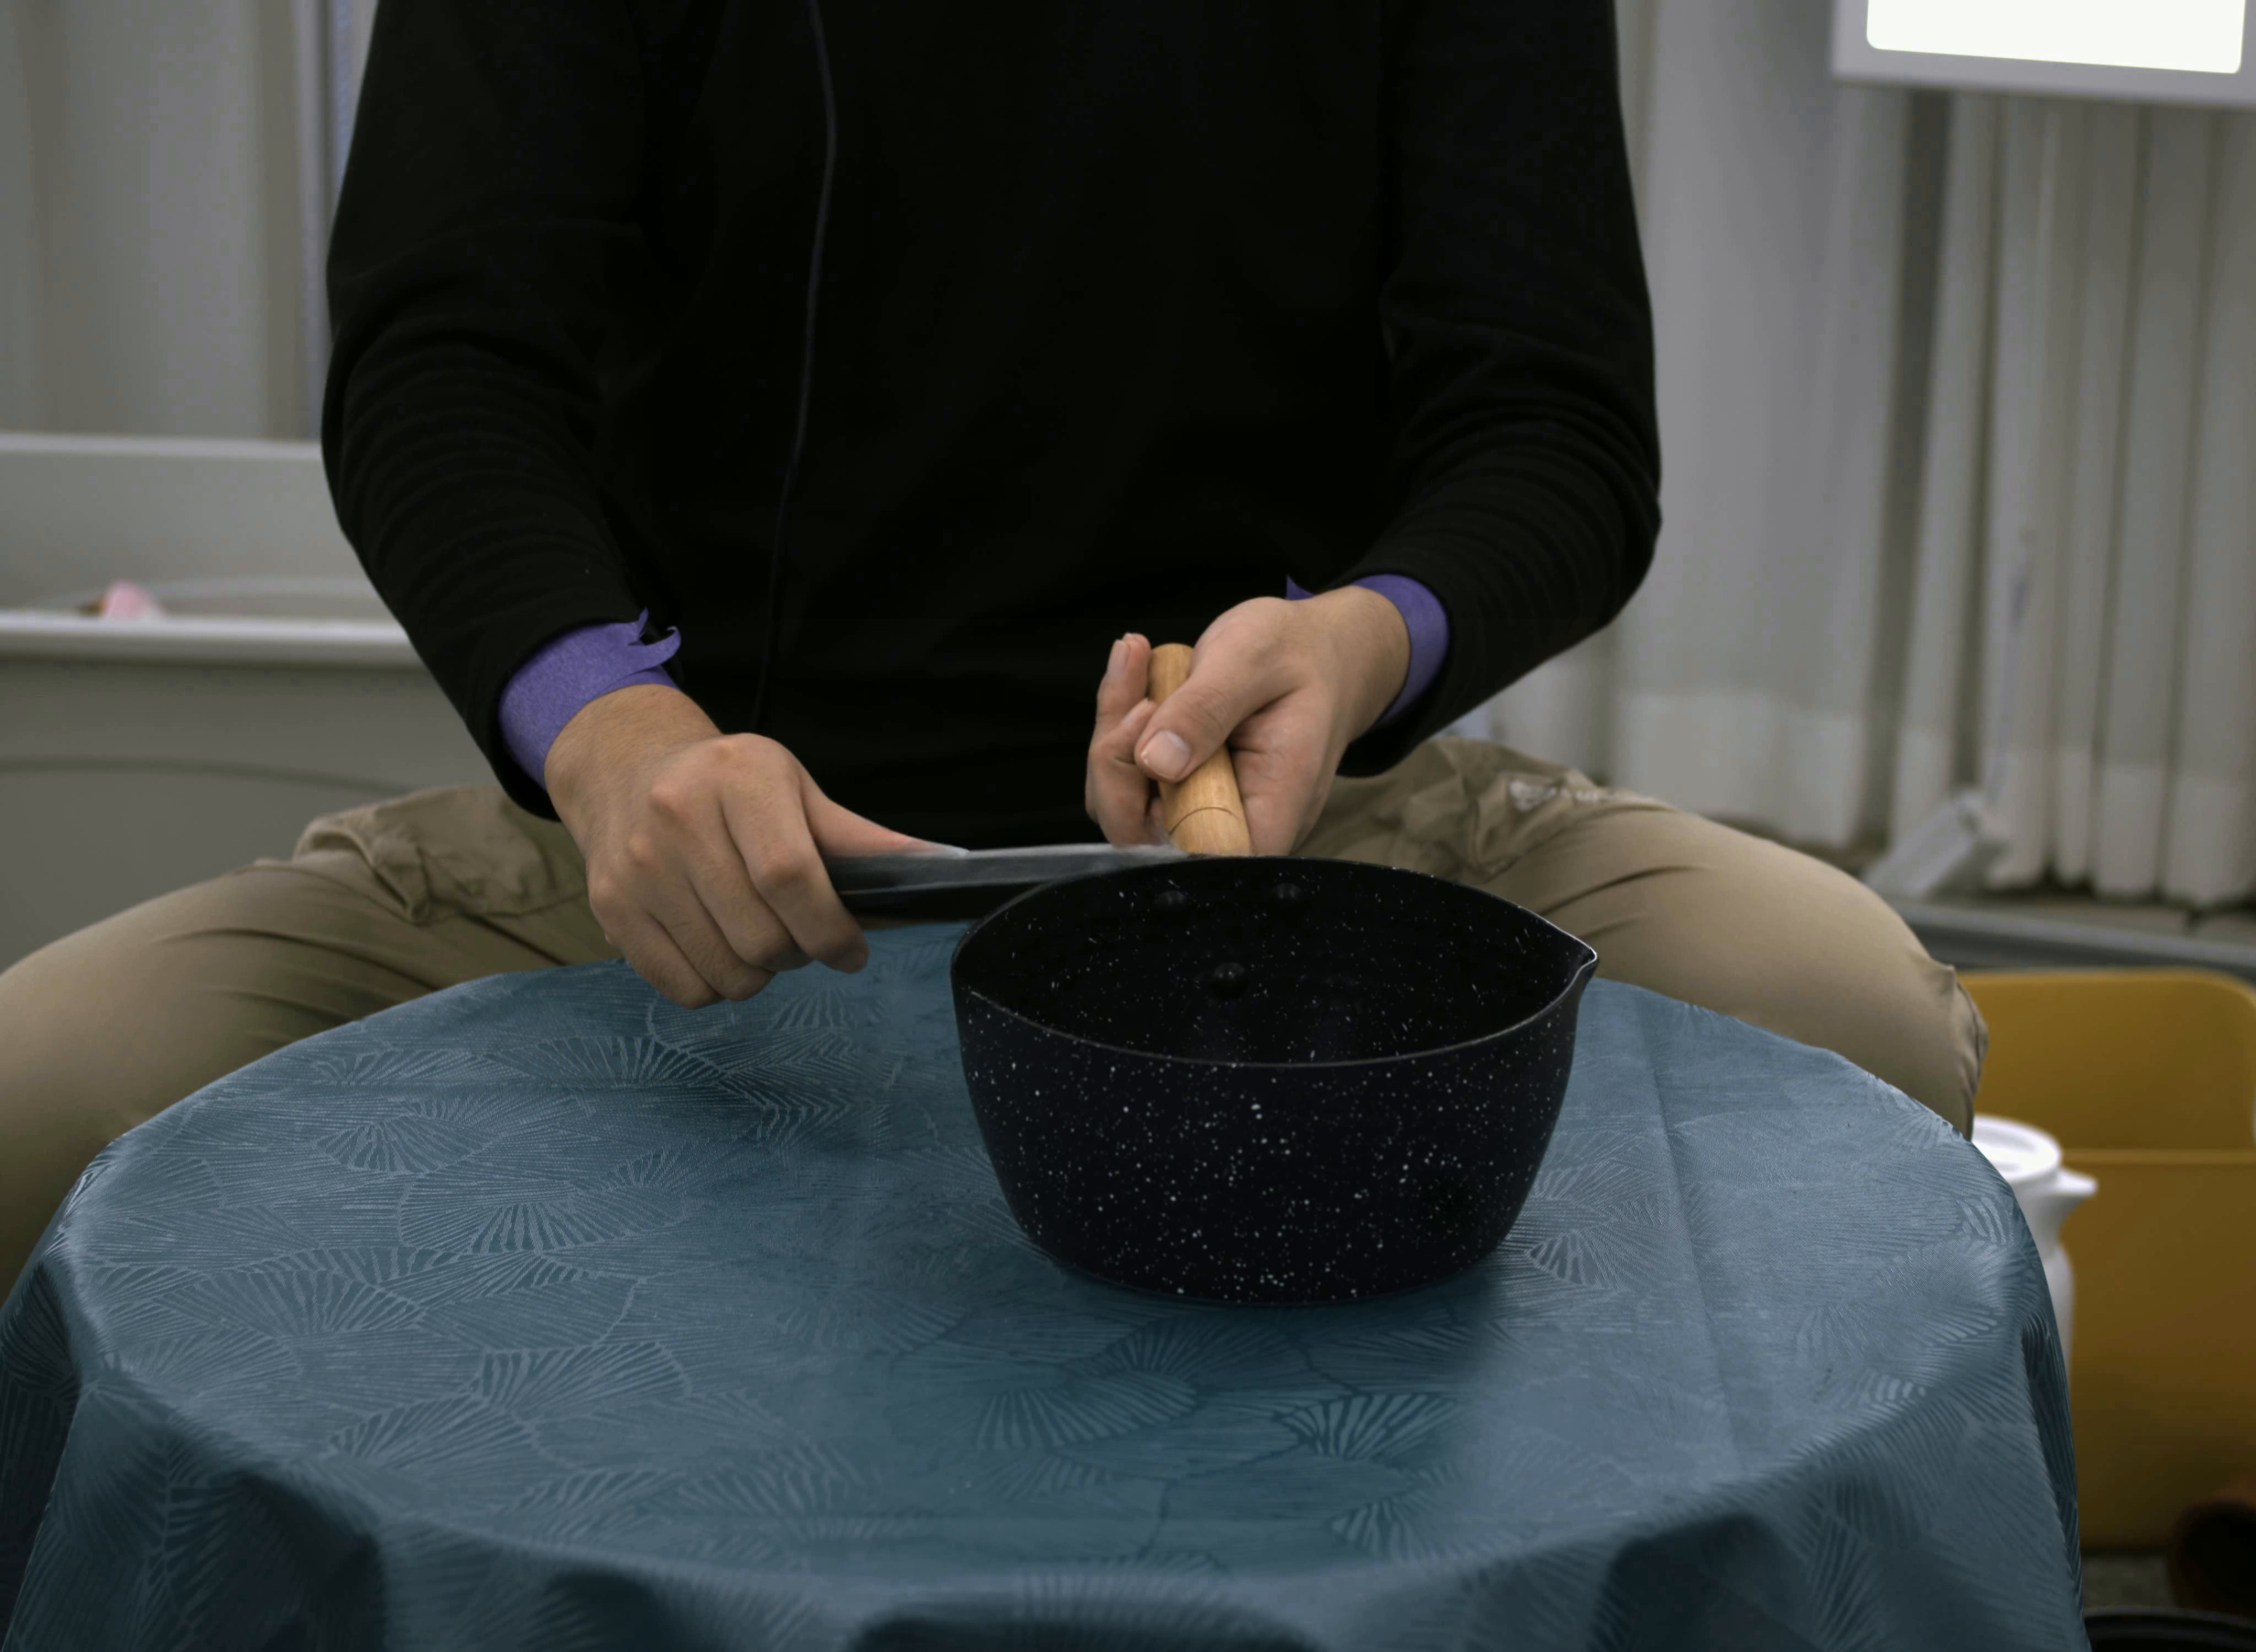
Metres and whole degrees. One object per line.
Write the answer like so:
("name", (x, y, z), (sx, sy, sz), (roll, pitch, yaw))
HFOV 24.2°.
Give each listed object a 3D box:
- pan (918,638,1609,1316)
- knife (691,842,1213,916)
("pan", (0.032, 0.042, 1.650), (0.207, 0.109, 0.340), (-1, 20, -7))
("knife", (-0.059, 0.015, 1.625), (0.235, 0.016, 0.024), (-4, 27, 46))
